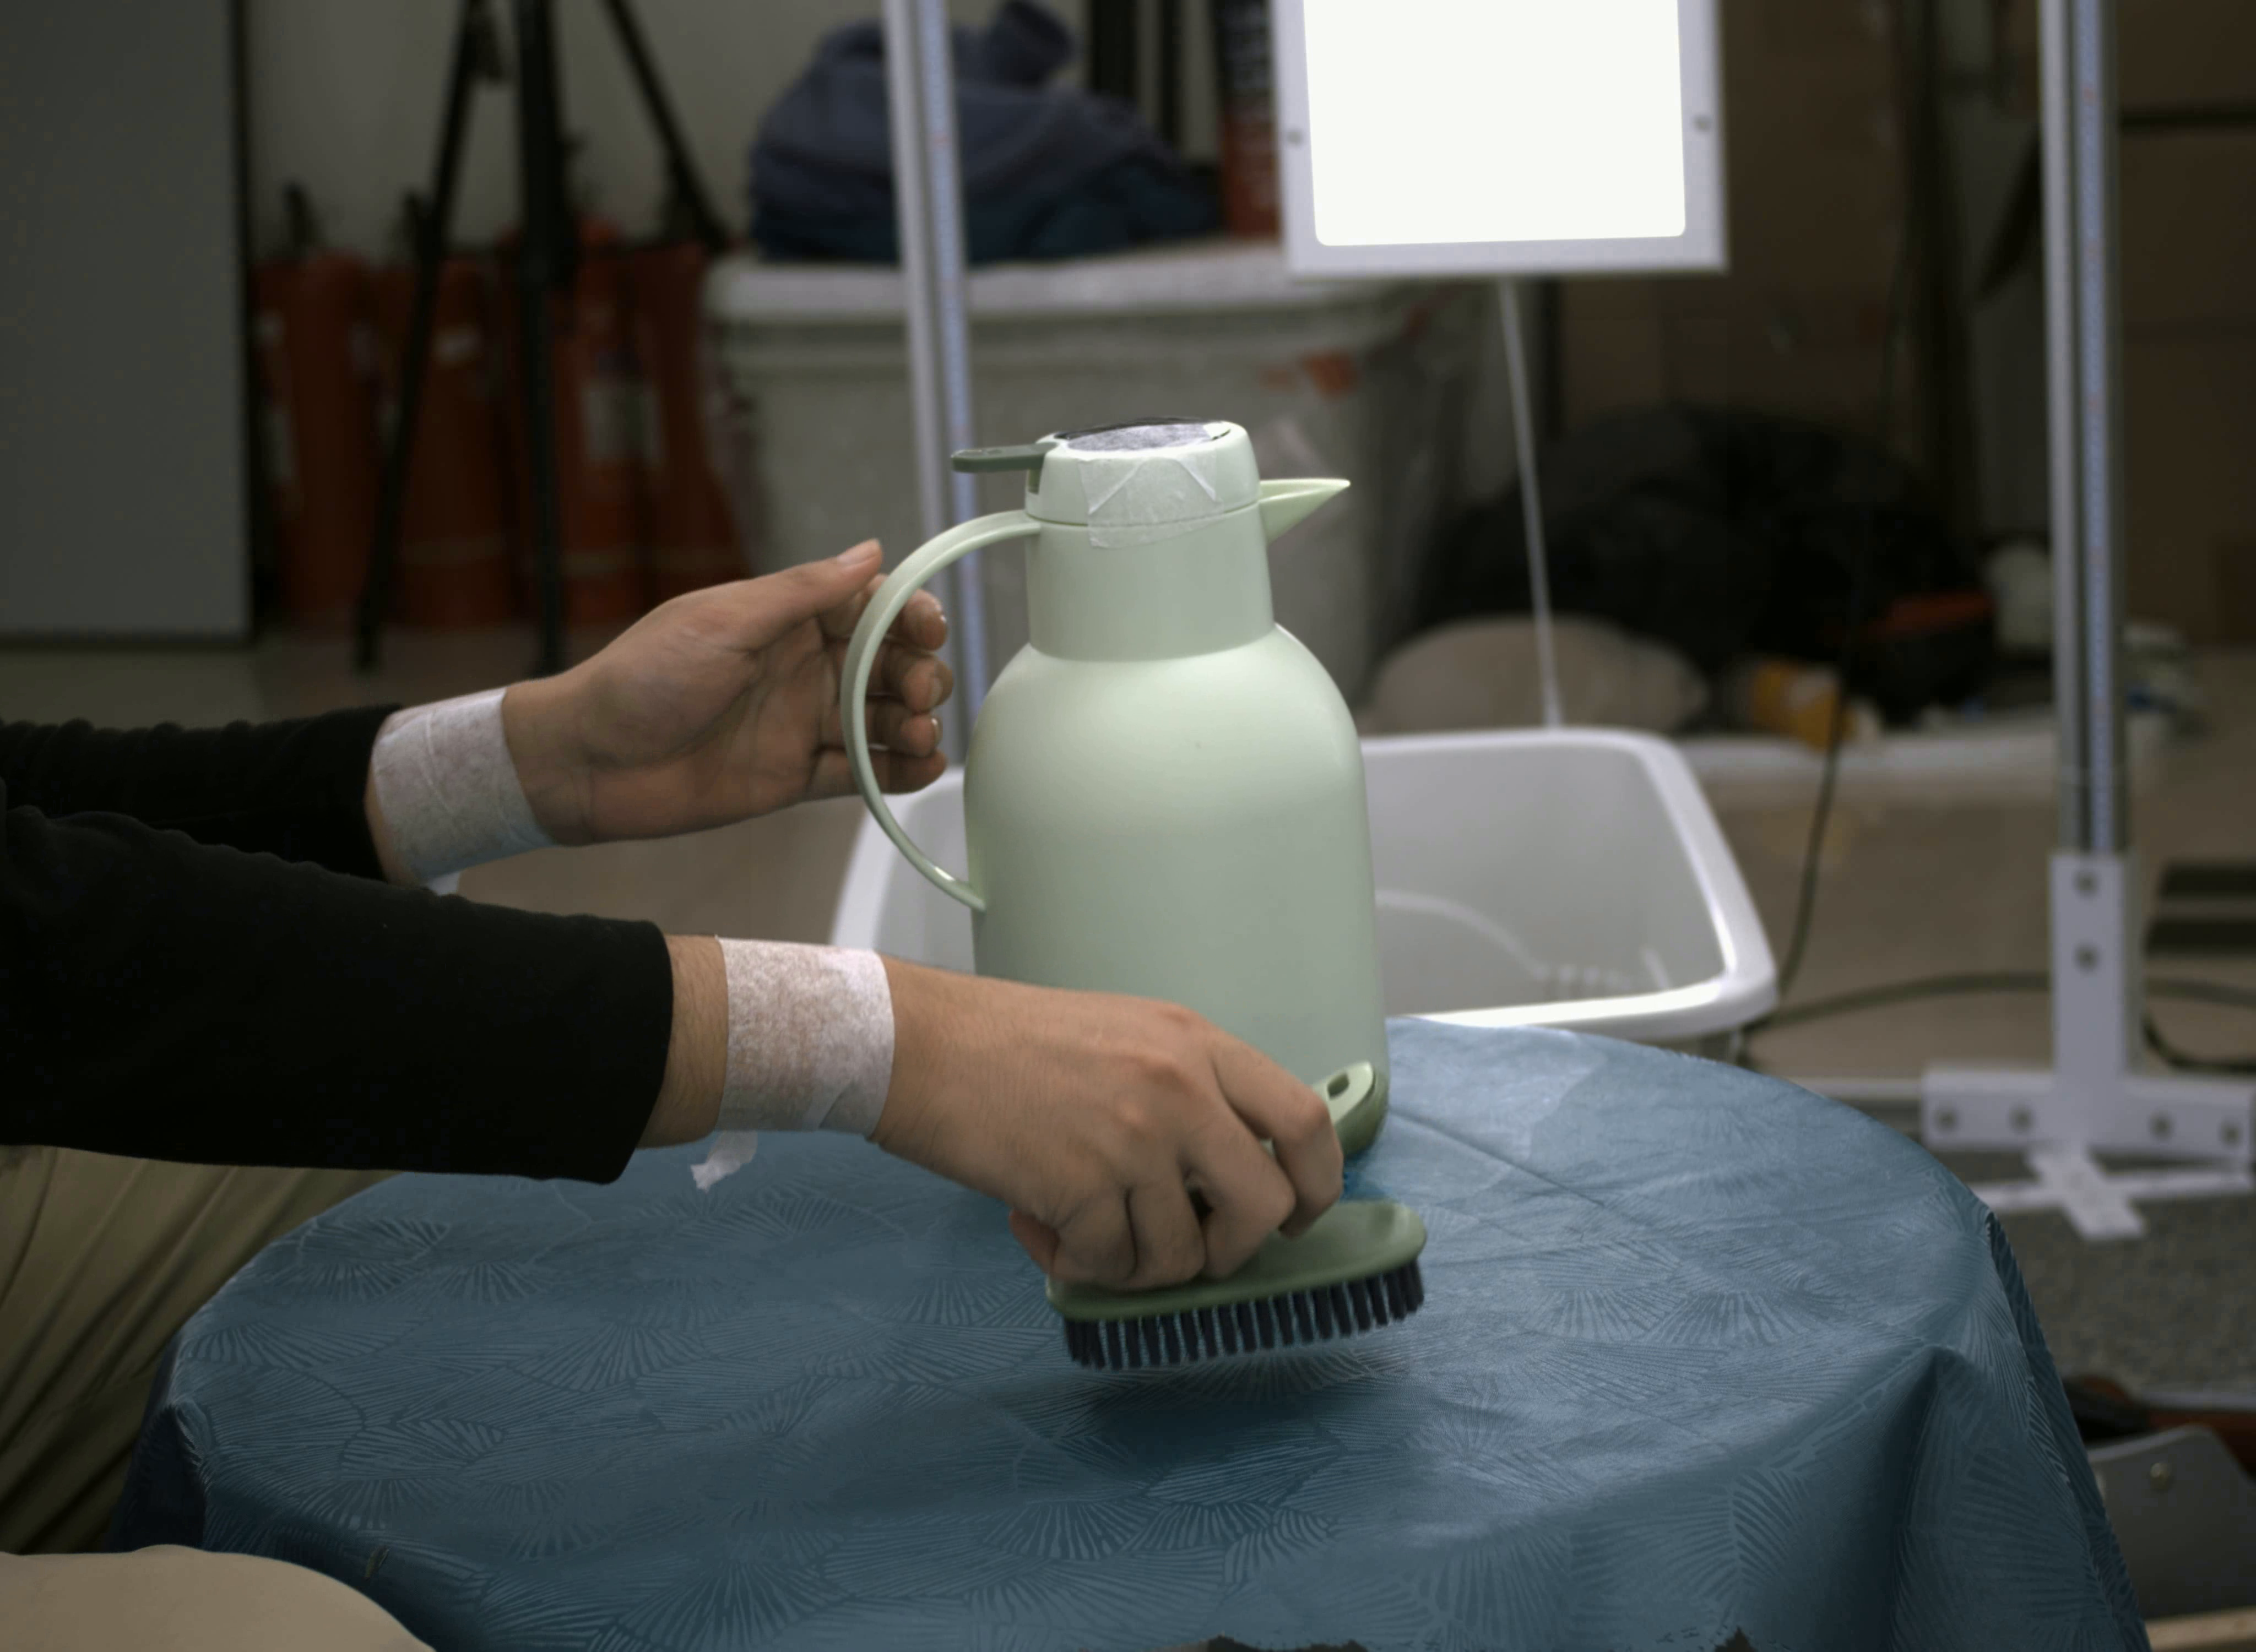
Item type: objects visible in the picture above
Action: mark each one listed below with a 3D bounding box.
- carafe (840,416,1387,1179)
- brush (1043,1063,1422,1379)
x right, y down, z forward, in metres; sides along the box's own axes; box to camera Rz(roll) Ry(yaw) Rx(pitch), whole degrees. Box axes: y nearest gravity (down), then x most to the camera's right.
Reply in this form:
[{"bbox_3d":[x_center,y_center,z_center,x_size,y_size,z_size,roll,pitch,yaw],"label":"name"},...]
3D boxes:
[{"bbox_3d":[-0.002,-0.011,1.920,0.185,0.257,0.145,-9,14,-9],"label":"carafe"},{"bbox_3d":[0.034,0.129,1.697,0.124,0.075,0.059,-25,15,11],"label":"brush"}]
